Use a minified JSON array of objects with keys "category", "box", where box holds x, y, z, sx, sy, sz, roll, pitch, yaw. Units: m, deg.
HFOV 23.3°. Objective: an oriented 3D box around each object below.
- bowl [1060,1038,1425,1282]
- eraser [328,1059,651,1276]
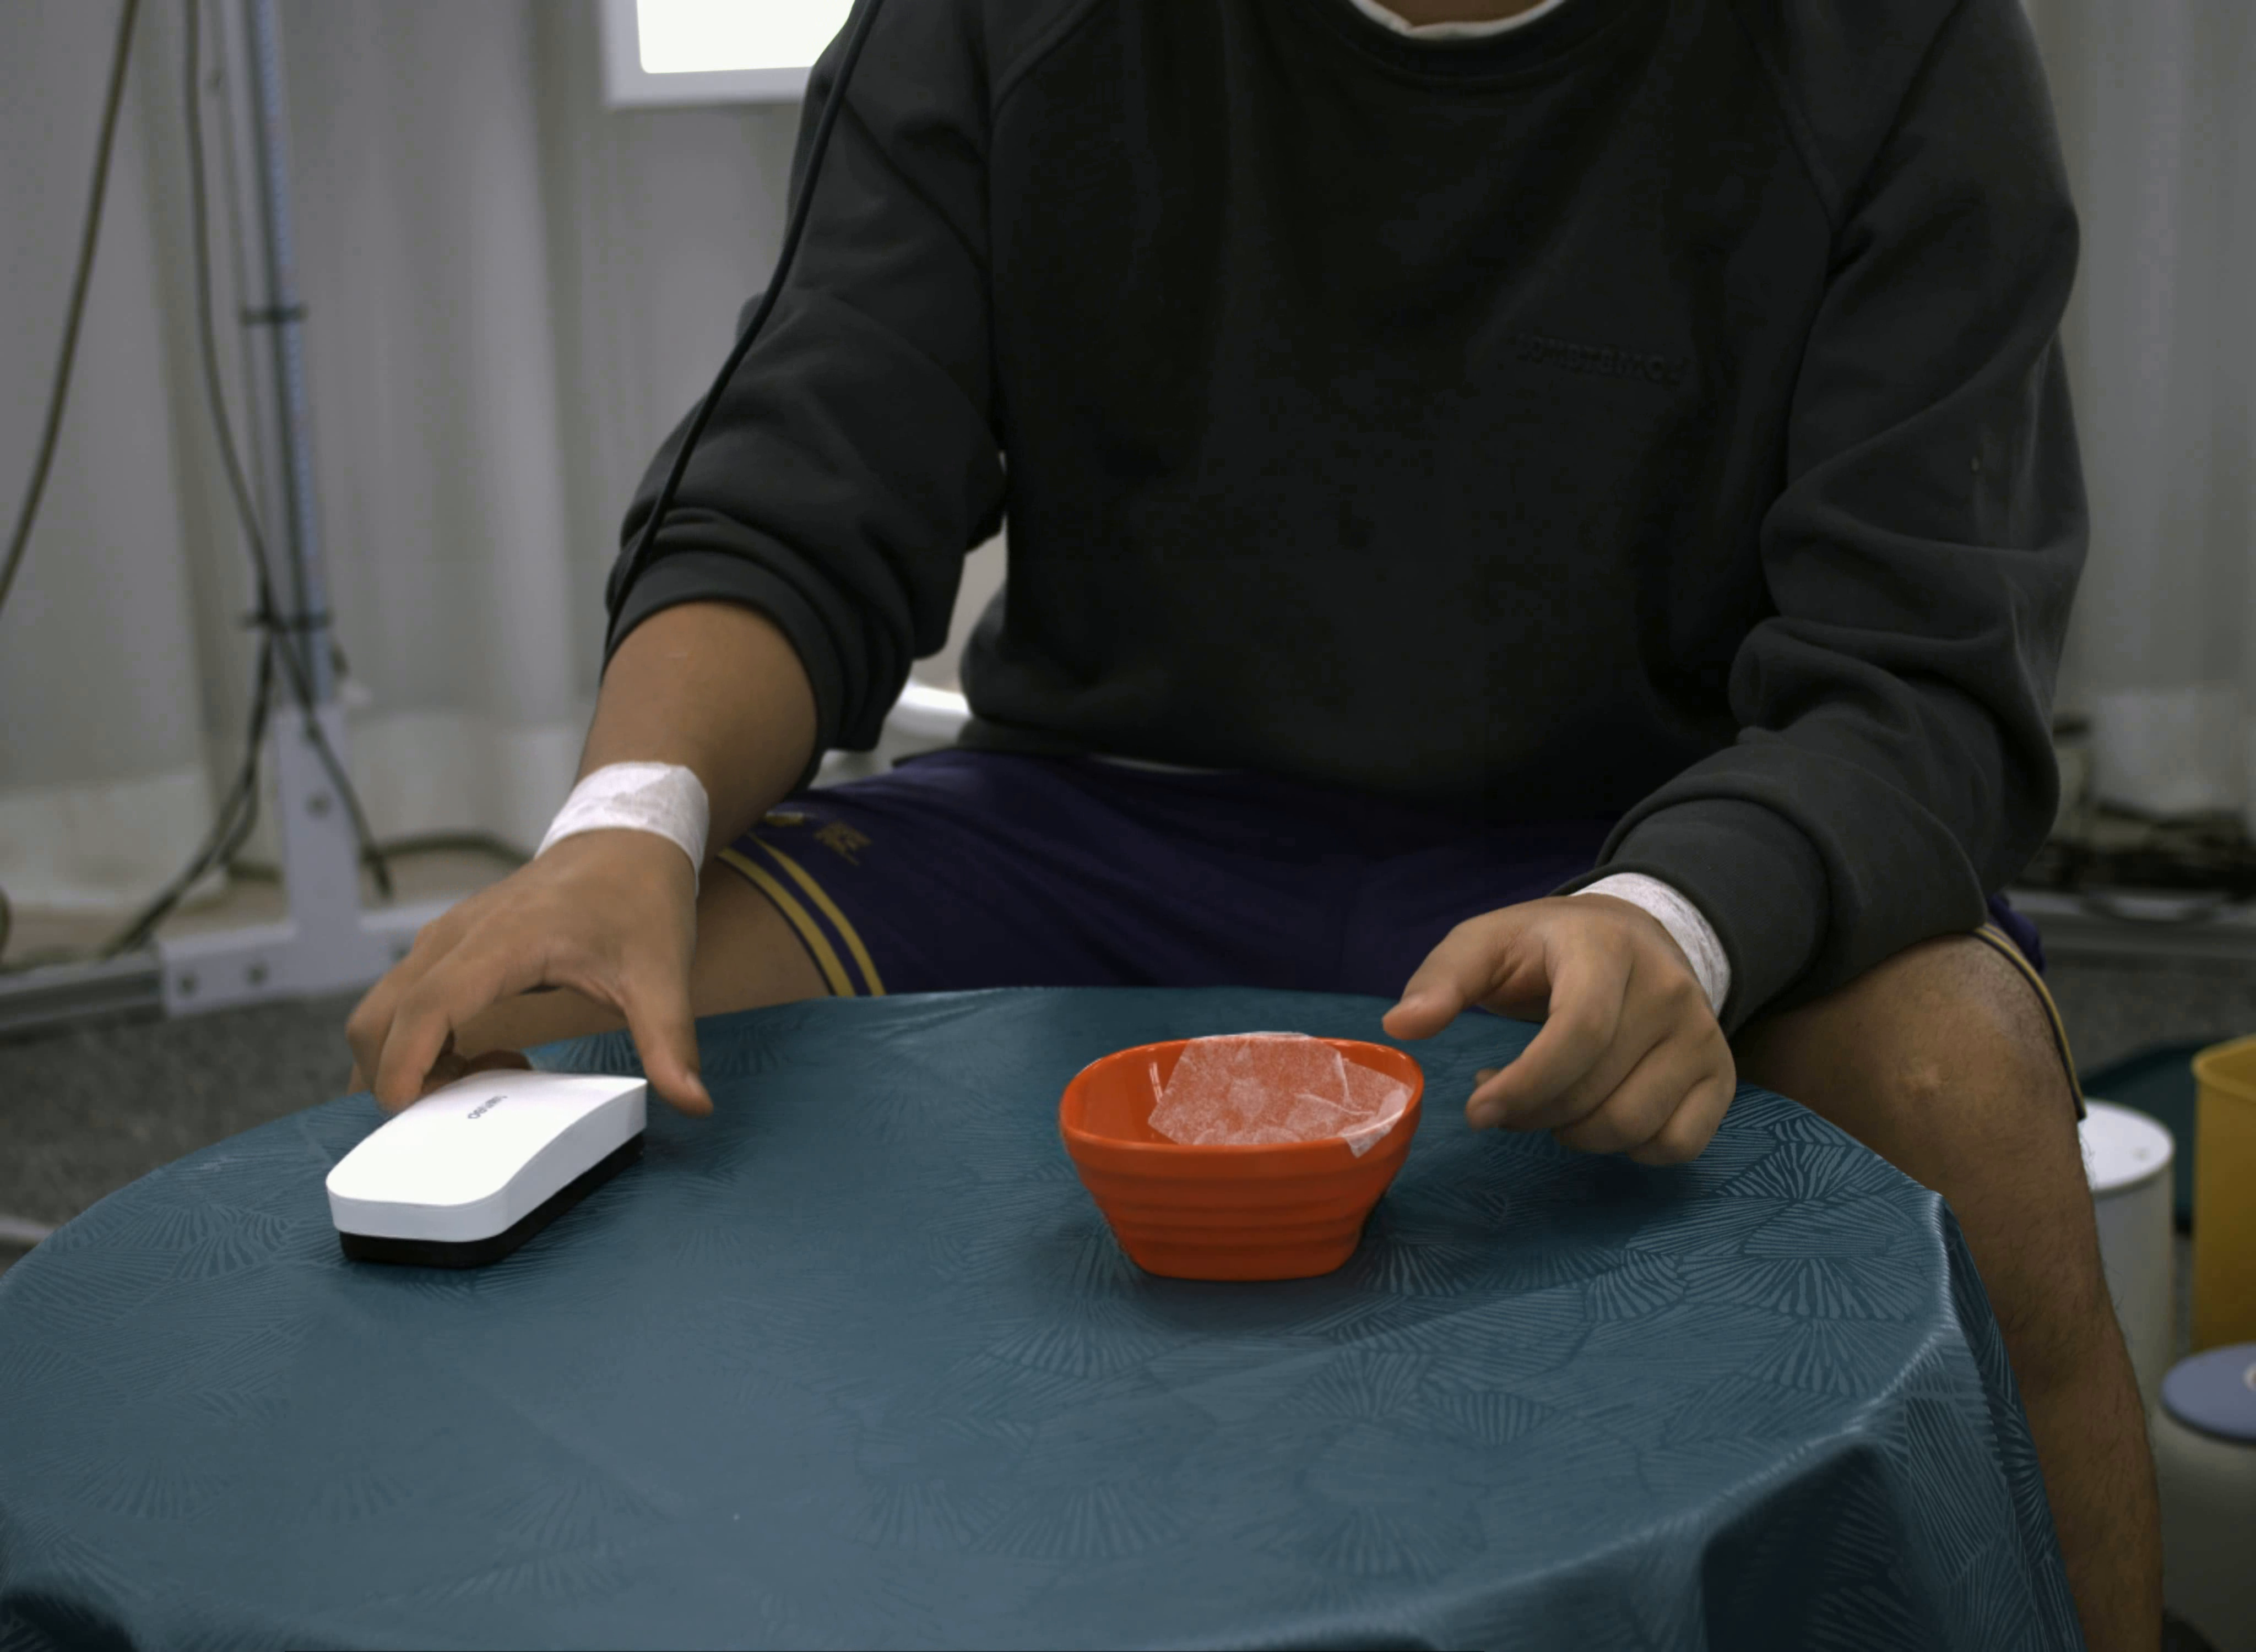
[{"category":"bowl","box":[0.036,0.103,1.654,0.118,0.051,0.119,-4,14,1]},{"category":"eraser","box":[-0.199,0.104,1.732,0.063,0.034,0.132,4,18,21]}]
